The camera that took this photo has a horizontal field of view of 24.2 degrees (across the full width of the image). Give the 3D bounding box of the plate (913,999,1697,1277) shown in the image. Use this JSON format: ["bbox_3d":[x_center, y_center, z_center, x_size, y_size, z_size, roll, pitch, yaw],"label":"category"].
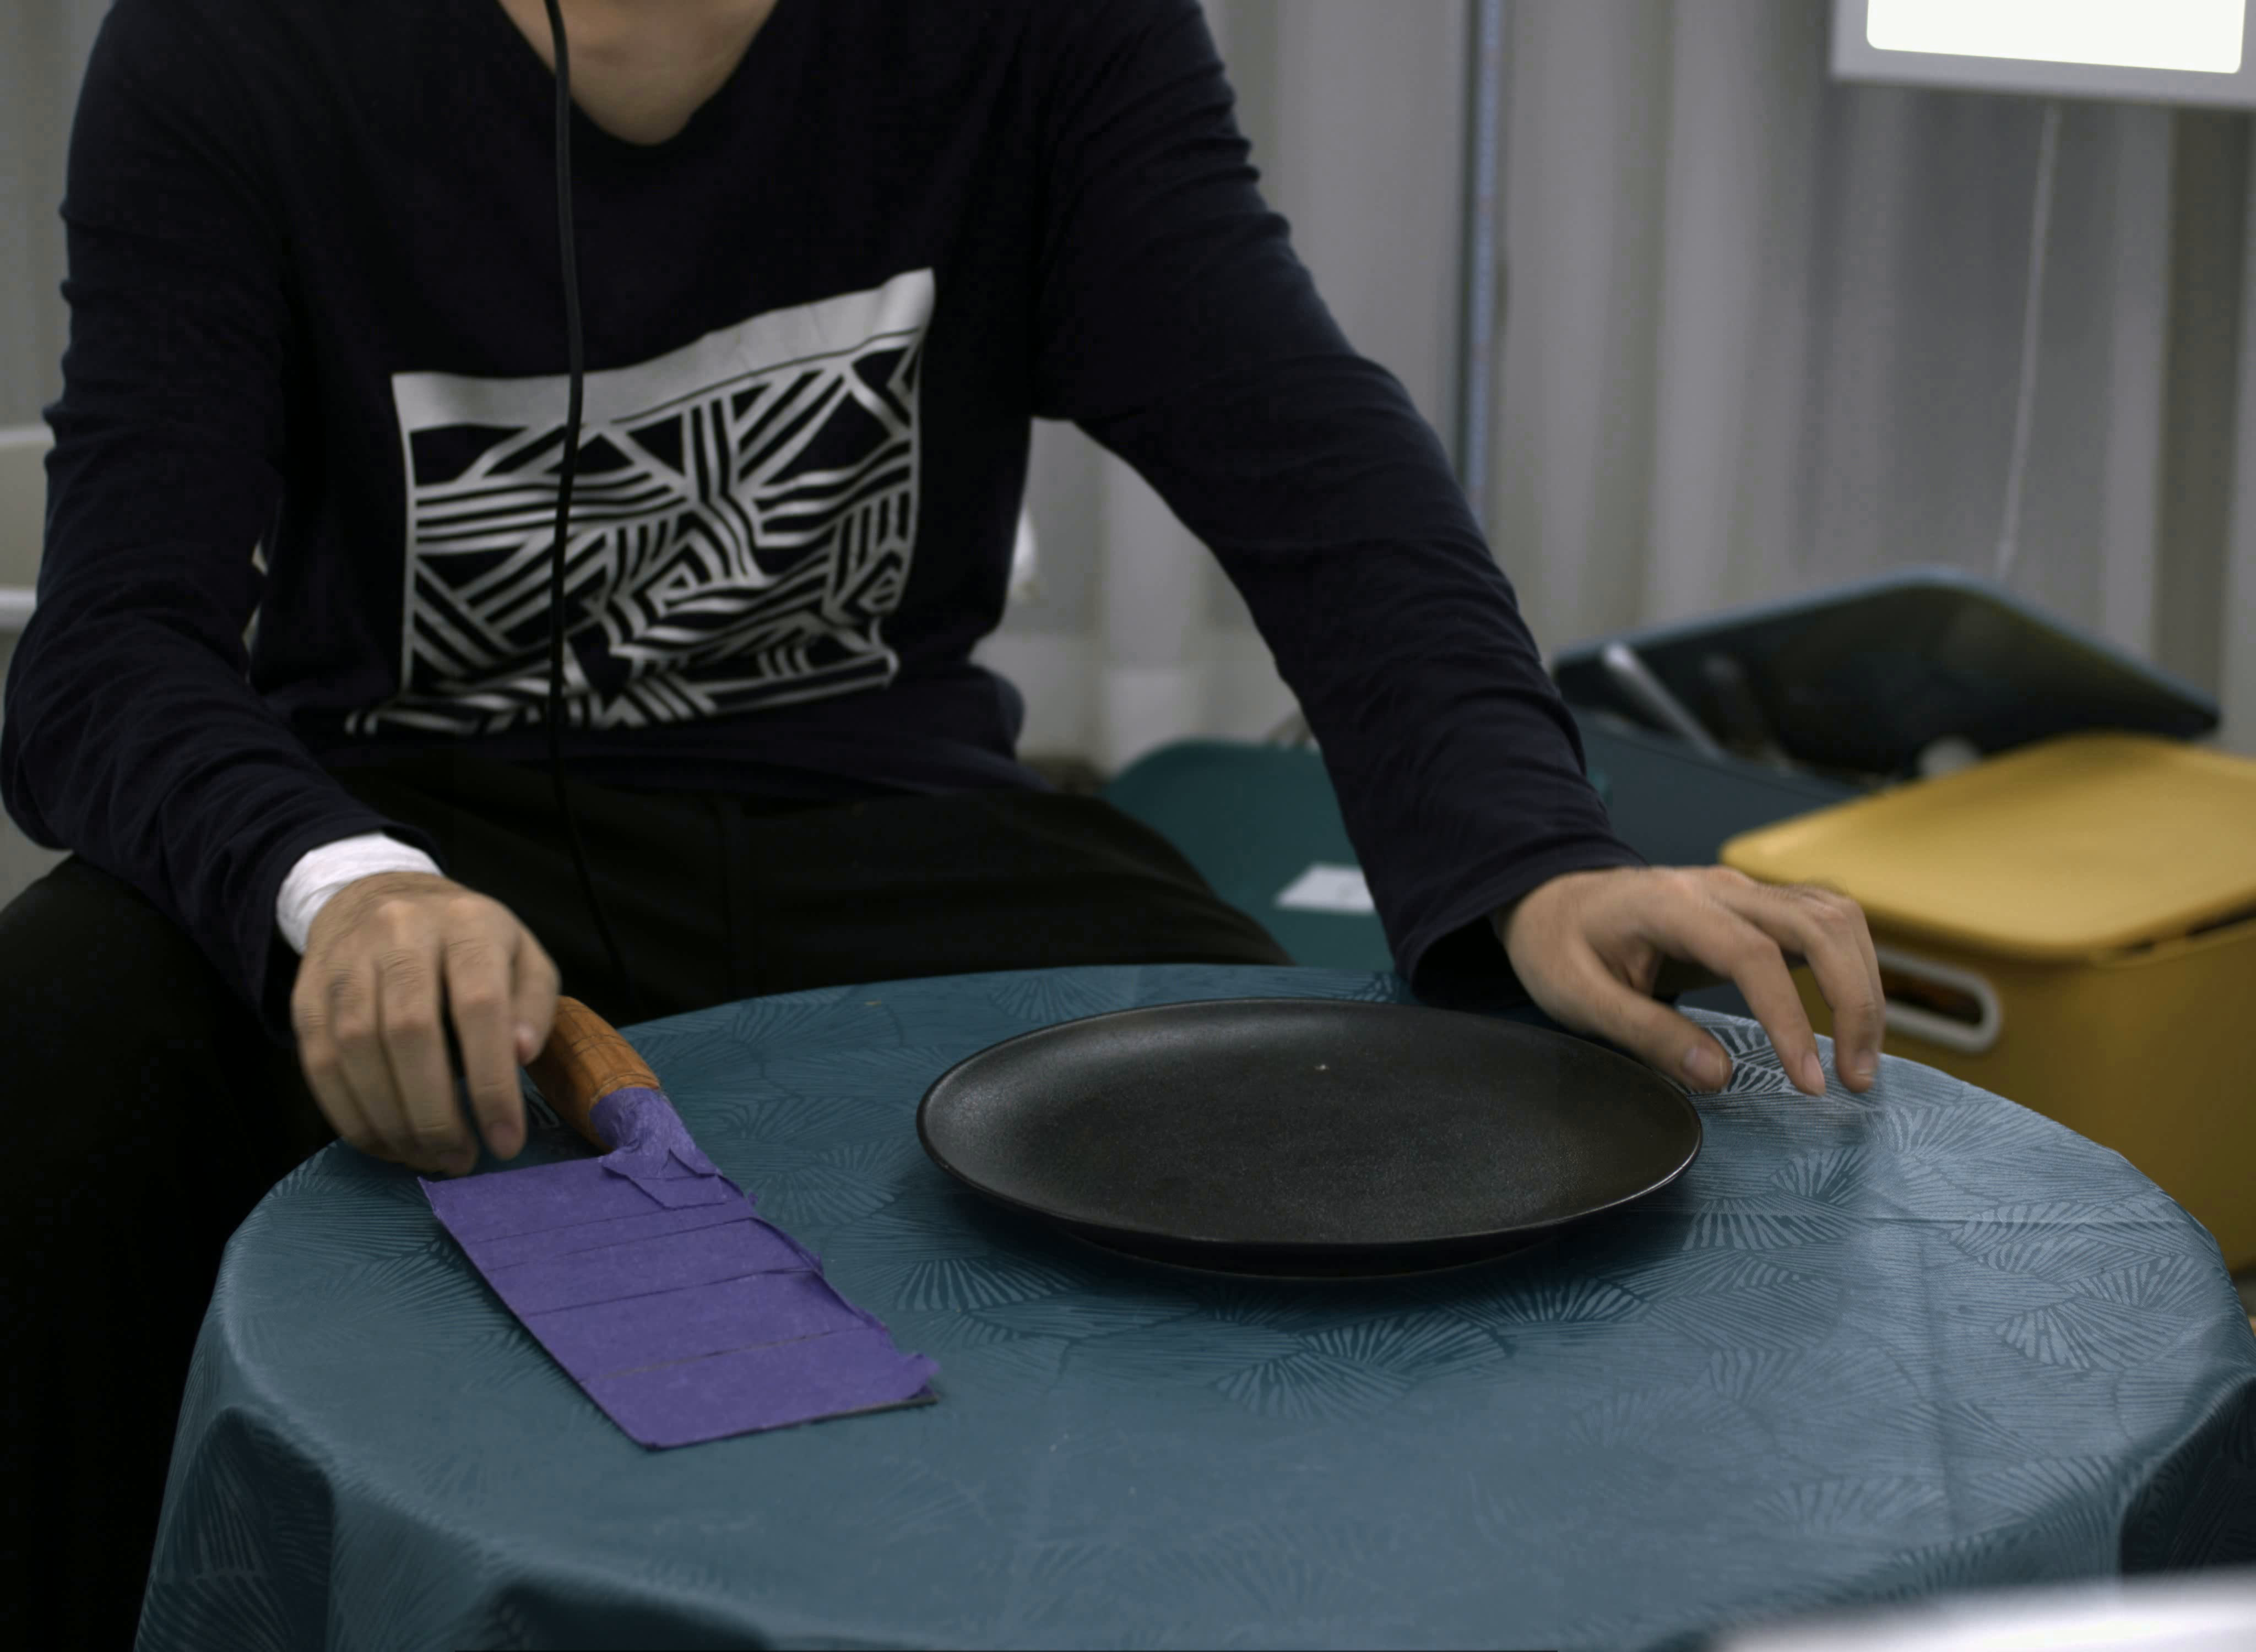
[{"bbox_3d":[0.054,0.099,1.634,0.243,0.023,0.243,1,16,0],"label":"plate"}]

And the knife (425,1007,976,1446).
[{"bbox_3d":[-0.152,0.114,1.562,0.104,0.032,0.311,-7,17,-24],"label":"knife"}]
